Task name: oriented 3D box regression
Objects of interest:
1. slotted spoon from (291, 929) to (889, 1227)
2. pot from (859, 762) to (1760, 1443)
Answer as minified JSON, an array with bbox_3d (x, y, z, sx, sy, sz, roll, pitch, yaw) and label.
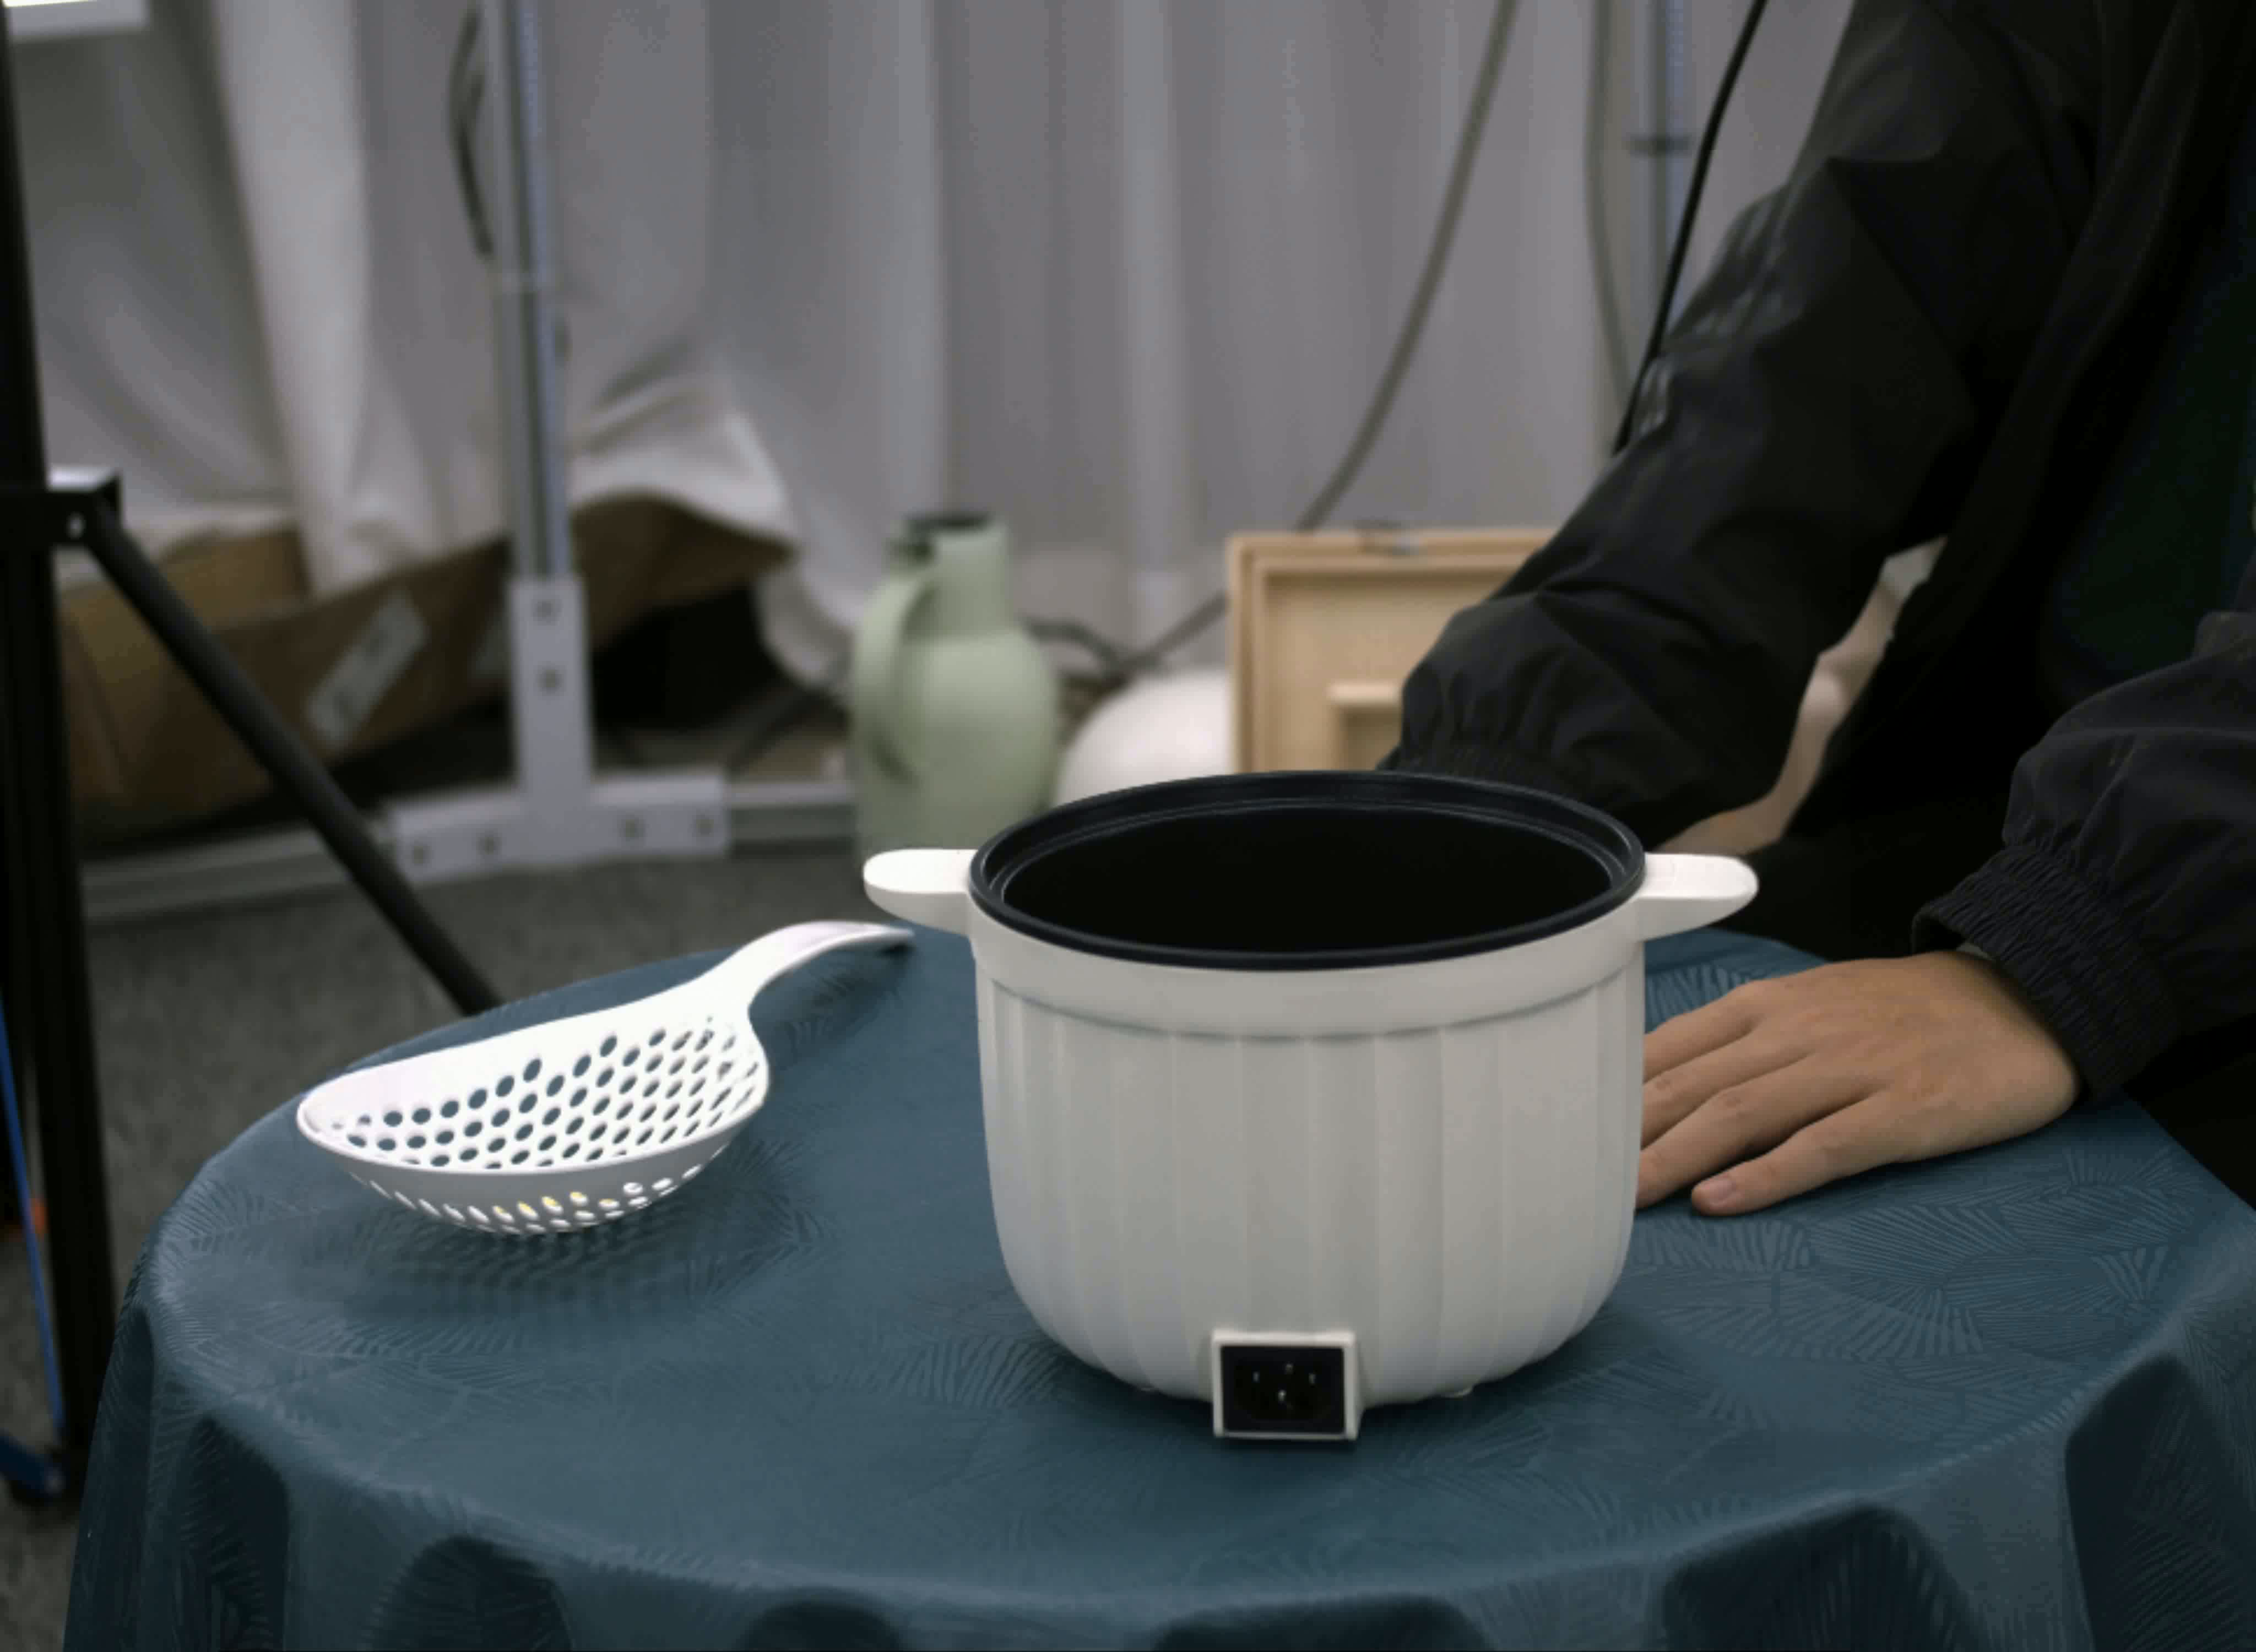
[{"bbox_3d":[-0.136,0.065,1.653,0.138,0.050,0.344,1,17,20],"label":"slotted spoon"},{"bbox_3d":[0.048,0.070,1.431,0.241,0.142,0.190,2,18,8],"label":"pot"}]
